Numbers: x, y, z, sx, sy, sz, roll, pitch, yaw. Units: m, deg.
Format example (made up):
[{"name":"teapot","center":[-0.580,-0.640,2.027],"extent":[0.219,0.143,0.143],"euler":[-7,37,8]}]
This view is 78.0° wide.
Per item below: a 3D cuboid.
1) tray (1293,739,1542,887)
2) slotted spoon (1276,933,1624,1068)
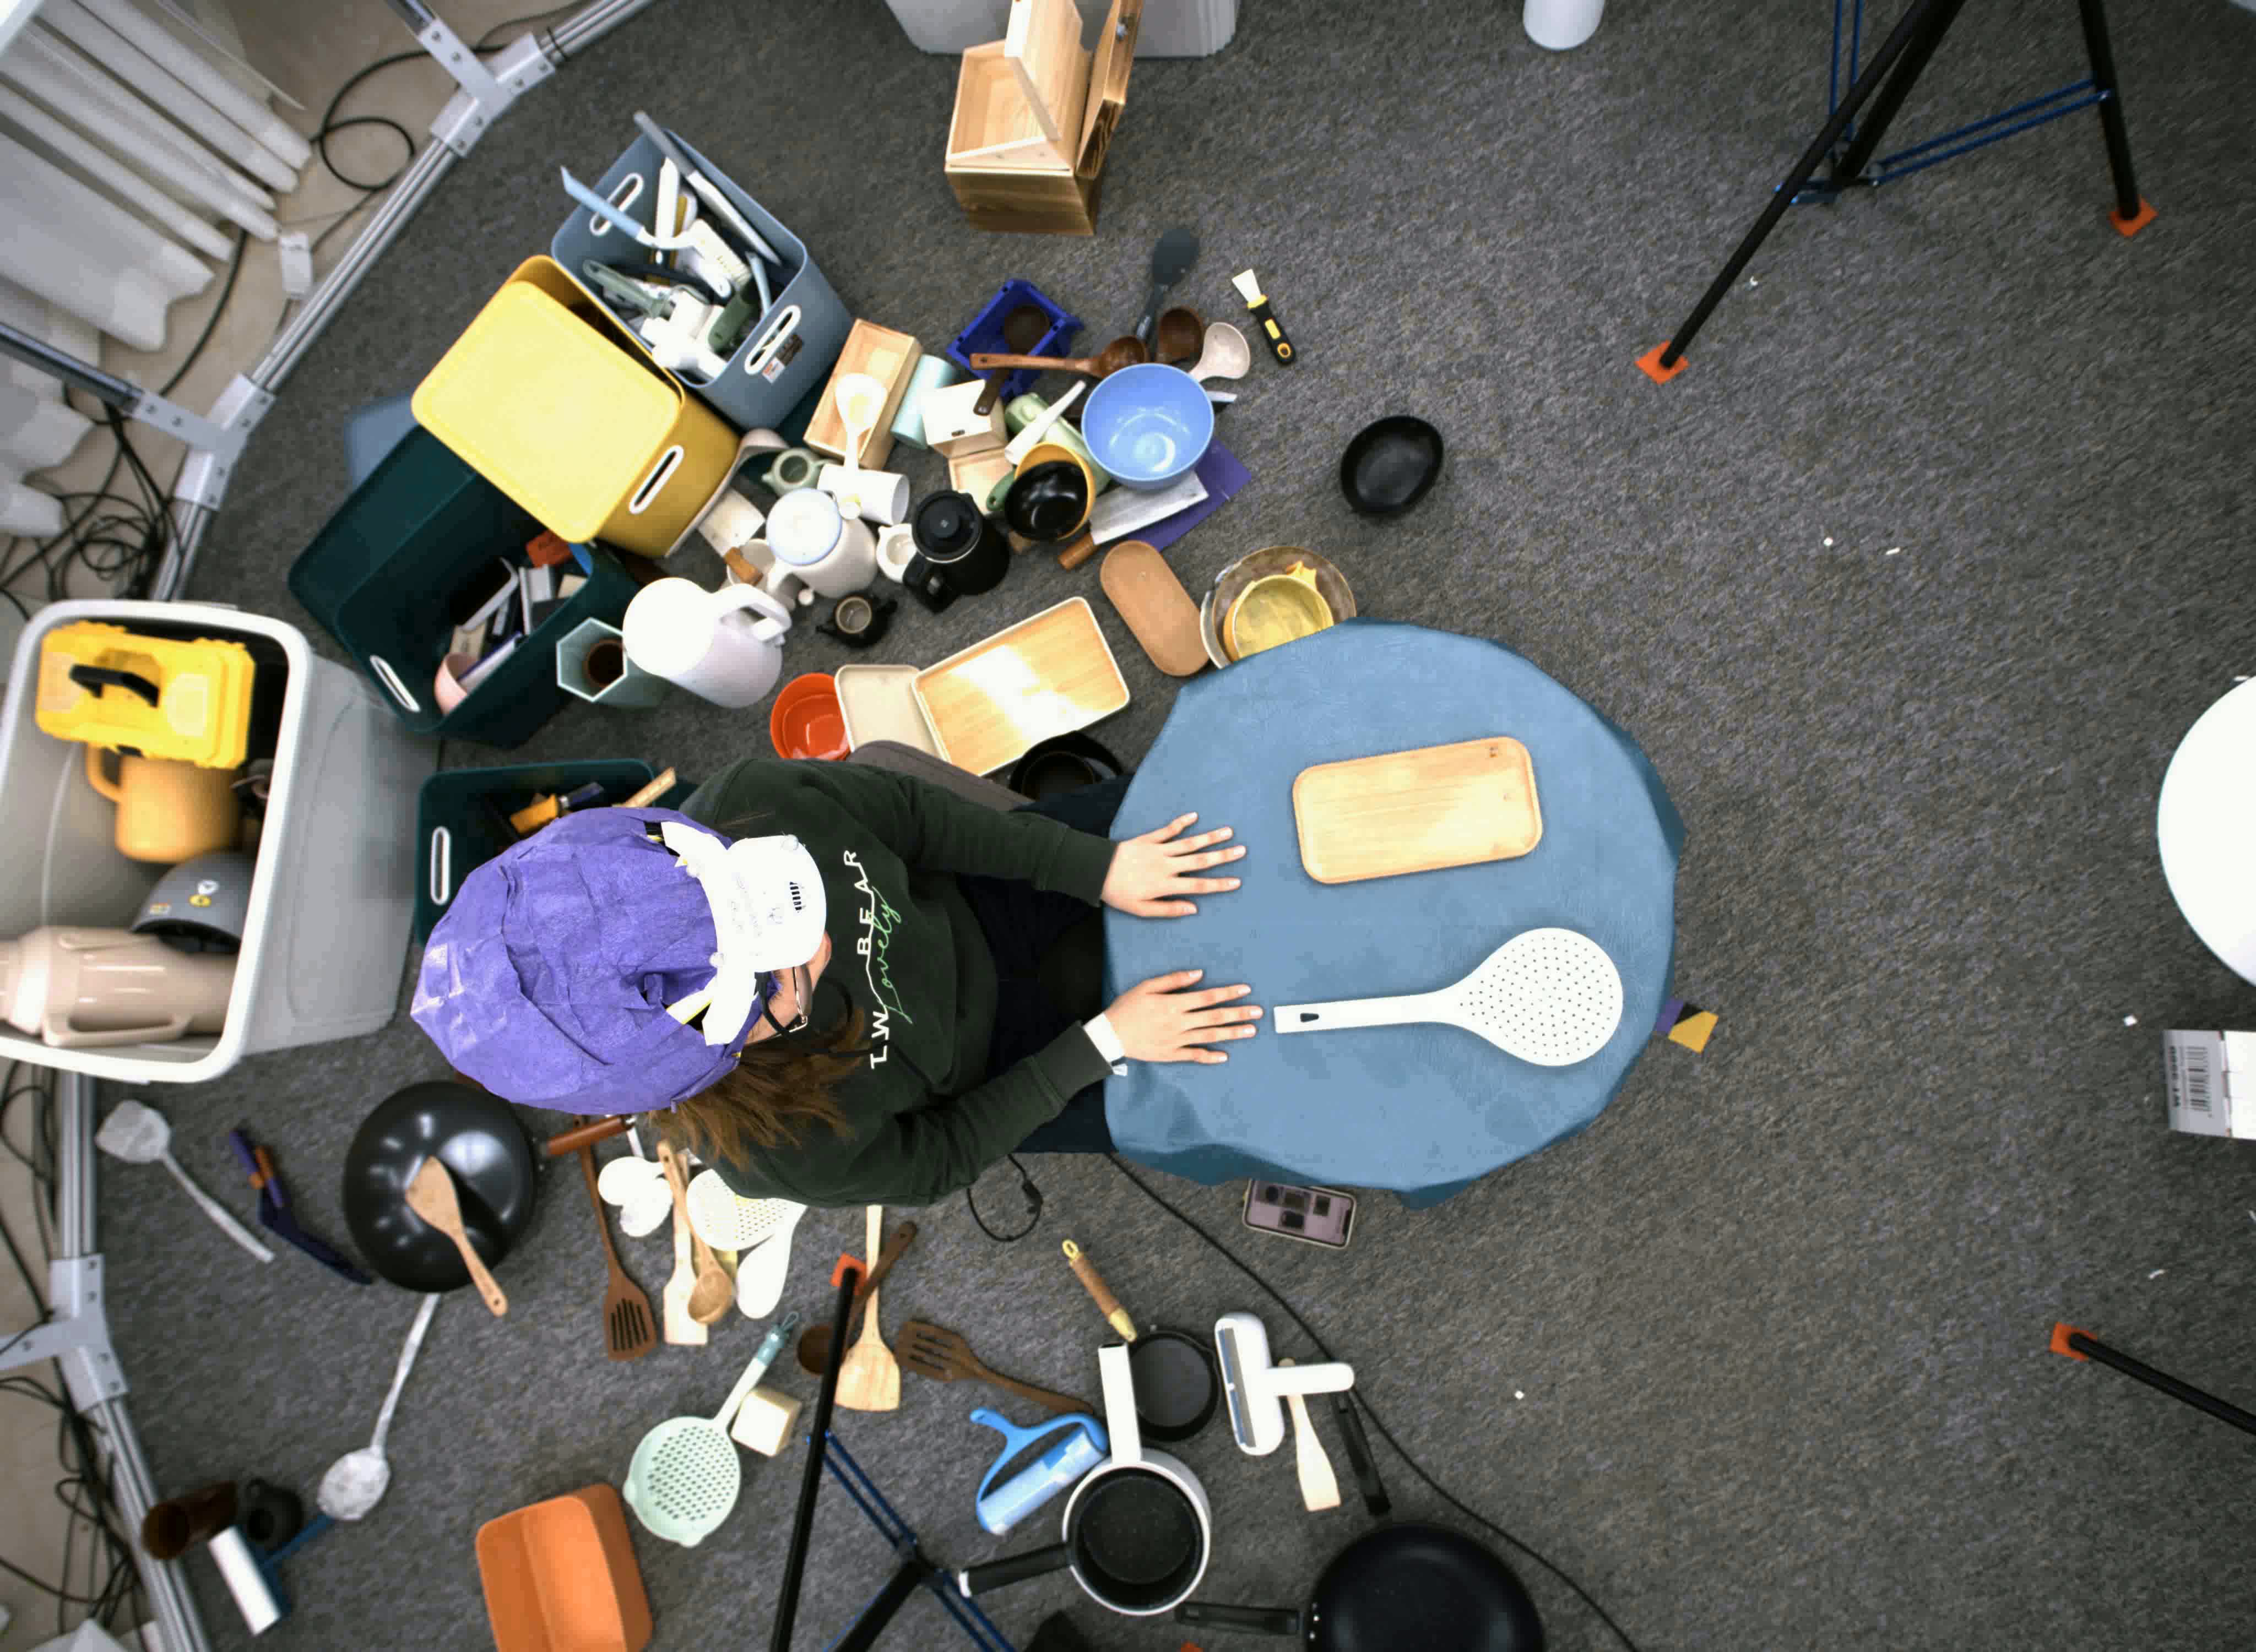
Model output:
[{"name":"tray","center":[0.304,-0.014,1.456],"extent":[0.252,0.023,0.129],"euler":[-9,83,11]},{"name":"slotted spoon","center":[0.327,0.186,1.423],"extent":[0.351,0.046,0.135],"euler":[-6,83,11]}]
